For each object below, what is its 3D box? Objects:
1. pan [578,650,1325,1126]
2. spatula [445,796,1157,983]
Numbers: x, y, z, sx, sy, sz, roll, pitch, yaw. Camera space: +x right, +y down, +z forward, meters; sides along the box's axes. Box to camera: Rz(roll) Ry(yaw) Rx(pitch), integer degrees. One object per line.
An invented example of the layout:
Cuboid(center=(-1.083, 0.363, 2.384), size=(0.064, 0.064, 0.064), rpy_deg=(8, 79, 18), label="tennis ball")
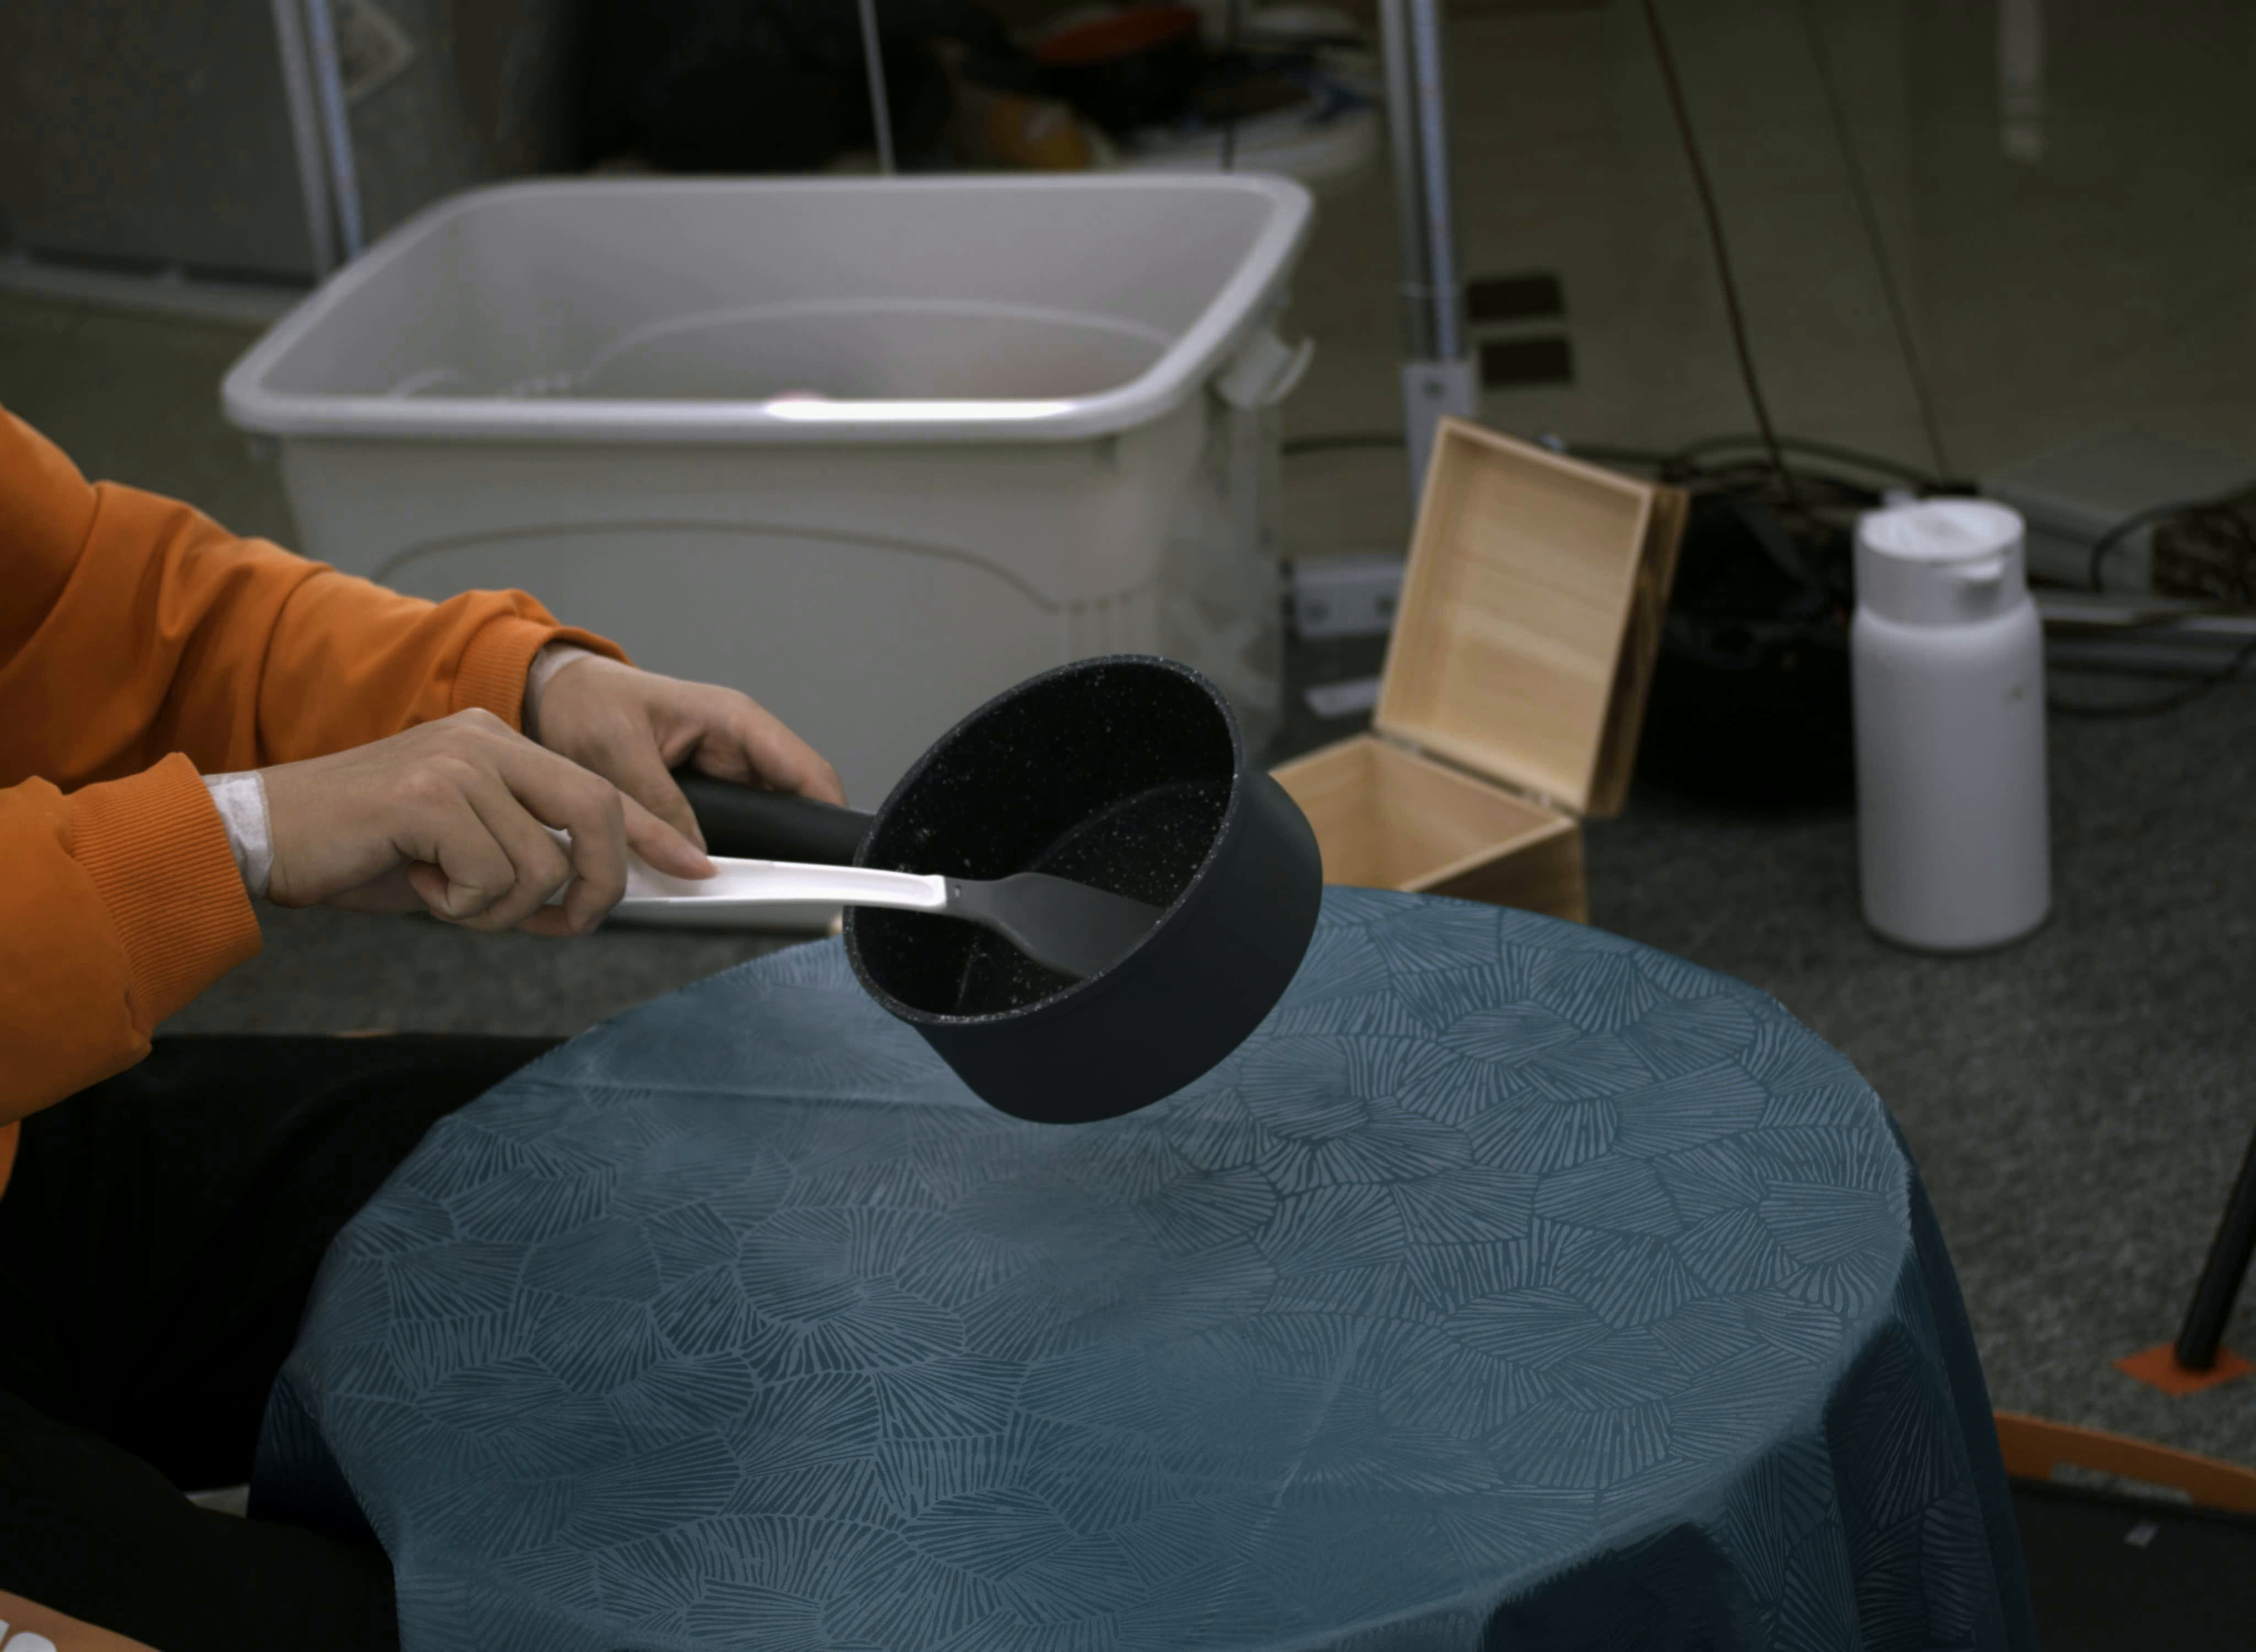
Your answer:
Cuboid(center=(-0.074, 0.016, 2.156), size=(0.327, 0.088, 0.170), rpy_deg=(9, 60, 41), label="pan")
Cuboid(center=(-0.105, 0.027, 2.055), size=(0.288, 0.033, 0.057), rpy_deg=(10, 42, -21), label="spatula")
